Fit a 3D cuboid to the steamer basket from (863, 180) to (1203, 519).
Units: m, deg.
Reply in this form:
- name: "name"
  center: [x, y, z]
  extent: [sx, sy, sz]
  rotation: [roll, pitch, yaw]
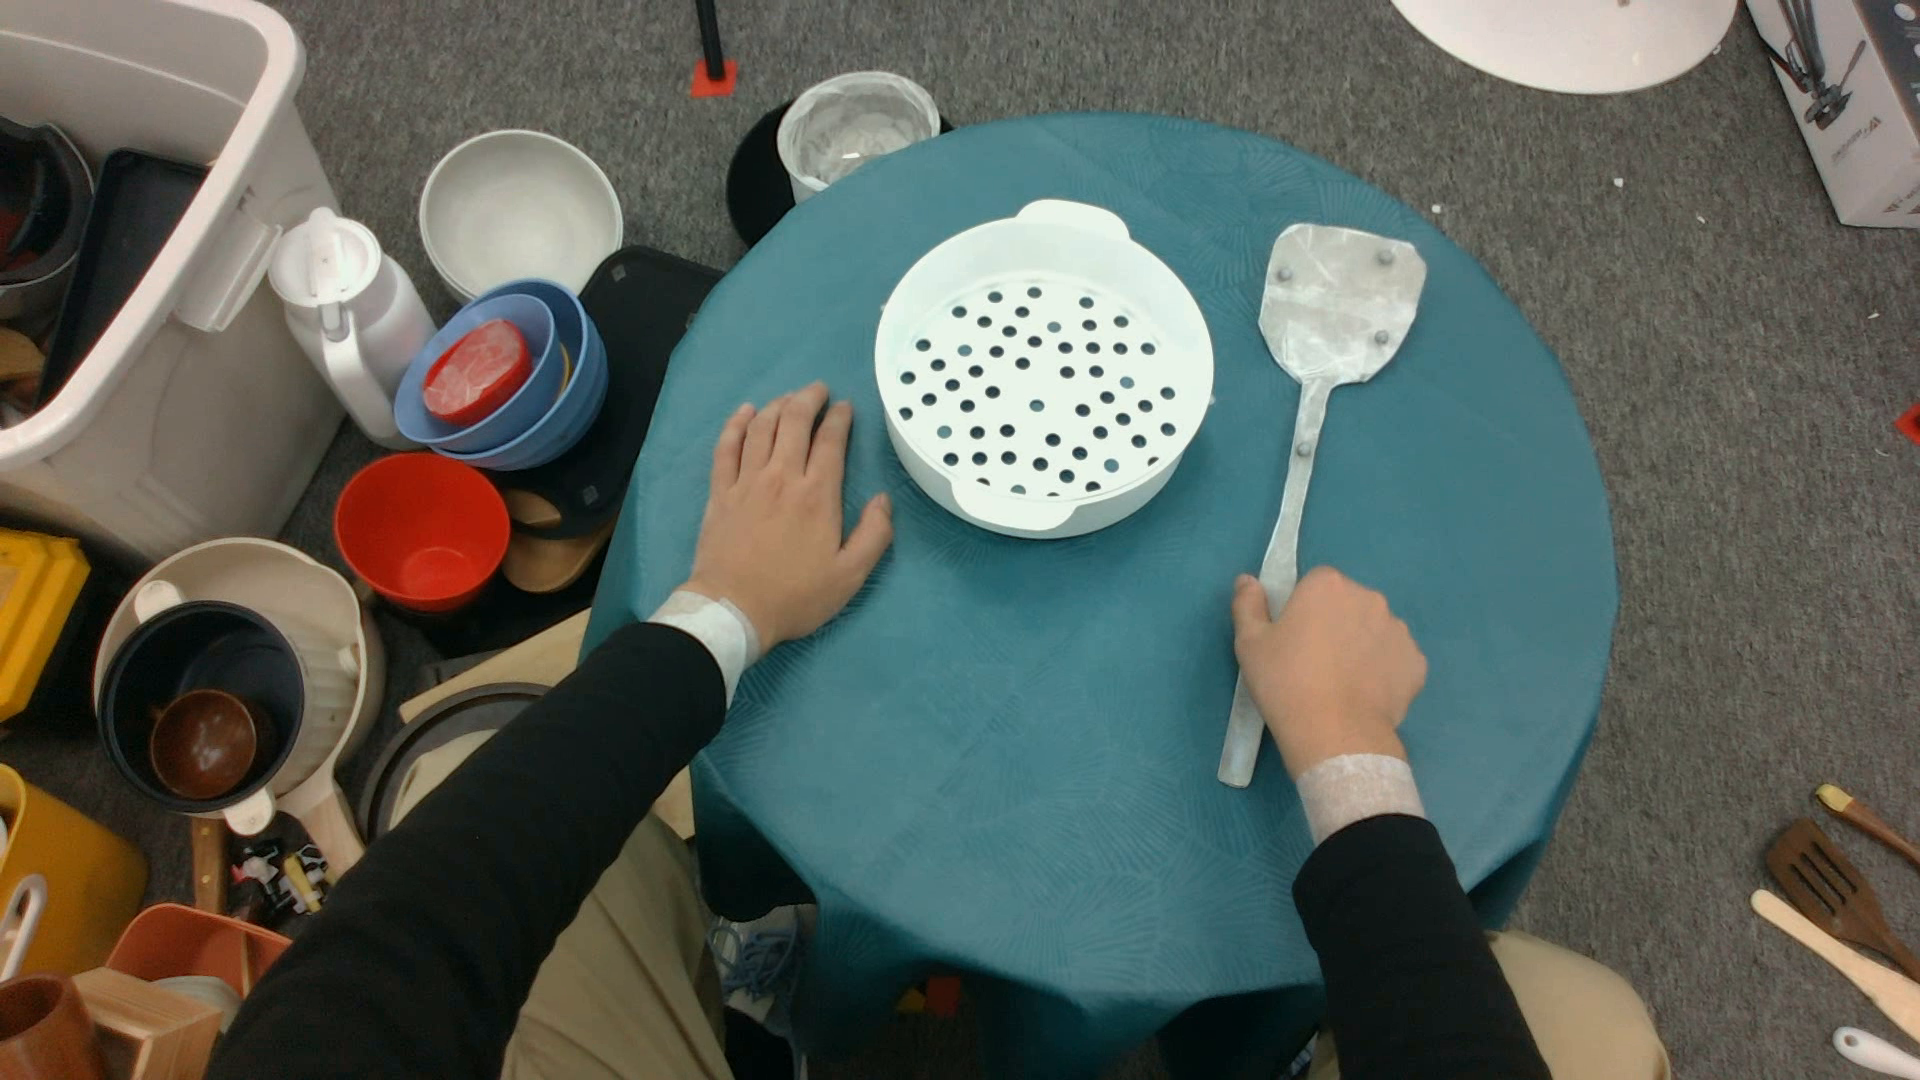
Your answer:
- name: "steamer basket"
  center: [0.043, -0.109, 0.841]
  extent: [0.202, 0.069, 0.231]
  rotation: [12, 66, 4]

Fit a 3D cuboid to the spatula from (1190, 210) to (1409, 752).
- name: "spatula"
  center: [0.194, -0.043, 0.835]
  extent: [0.098, 0.044, 0.366]
  rotation: [16, 65, 5]
